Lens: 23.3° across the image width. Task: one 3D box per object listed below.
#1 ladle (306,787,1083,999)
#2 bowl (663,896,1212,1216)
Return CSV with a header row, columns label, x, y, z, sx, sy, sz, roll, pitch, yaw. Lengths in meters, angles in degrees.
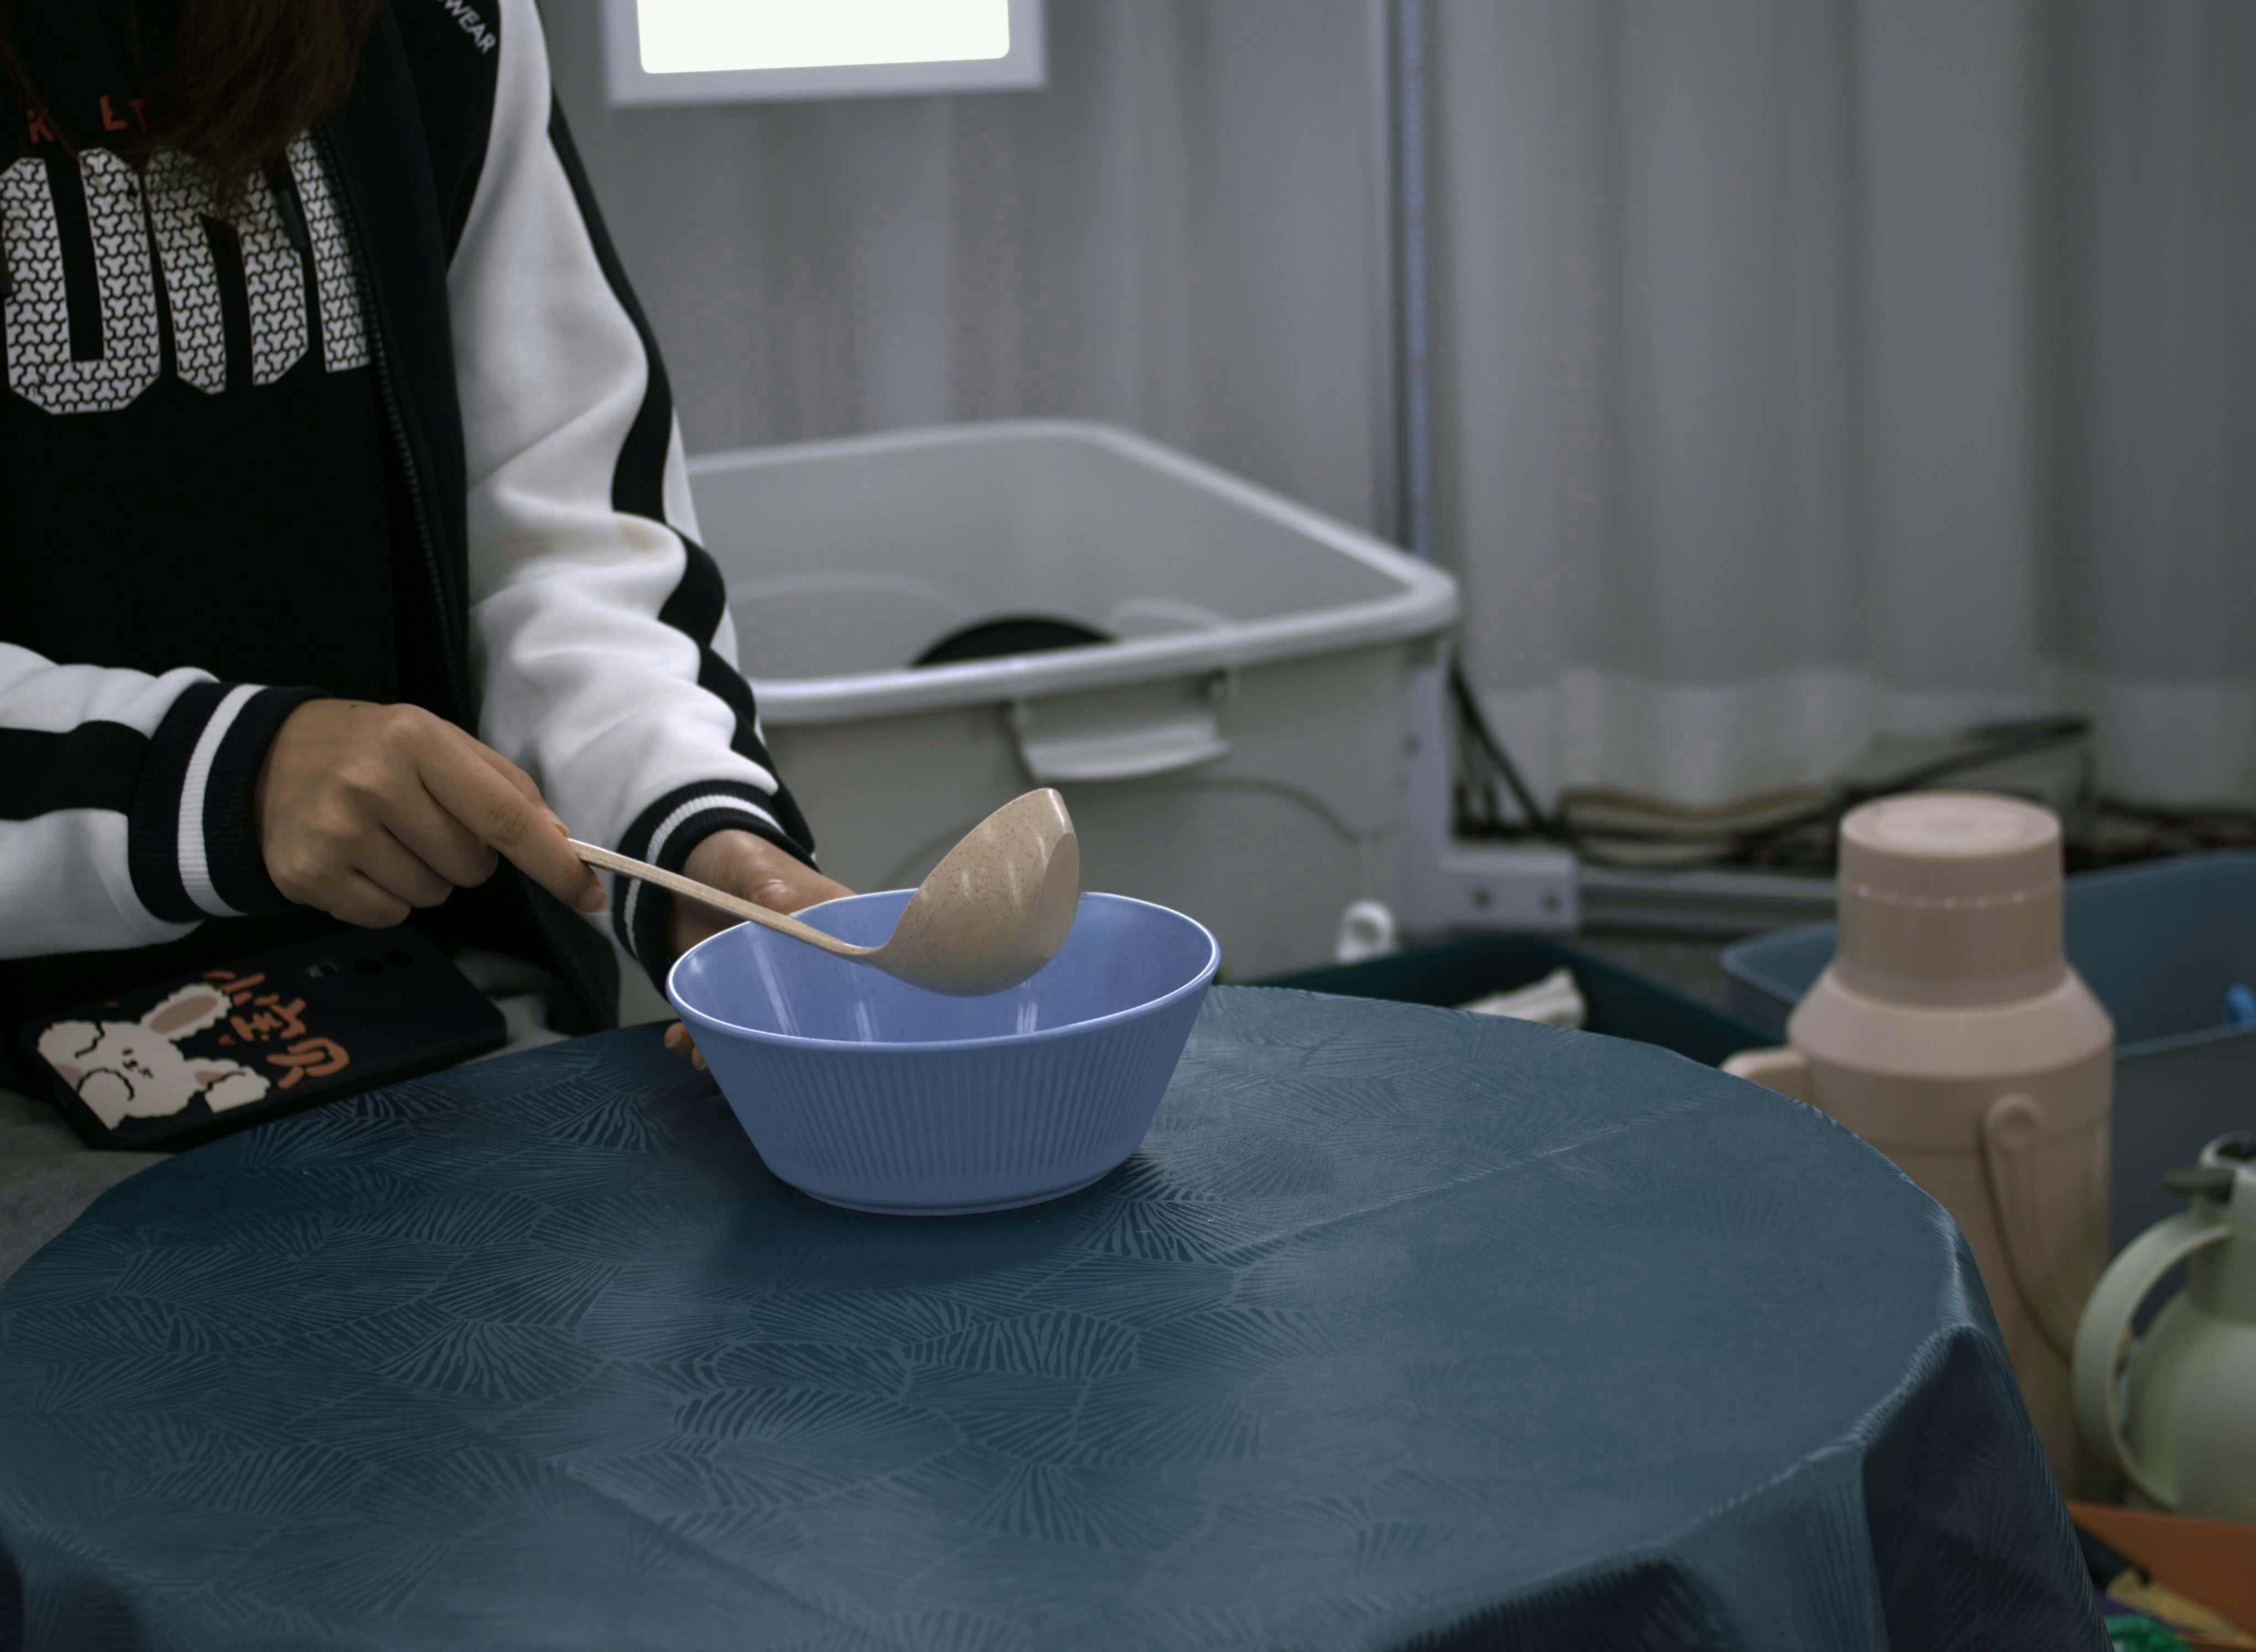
label,x,y,z,sx,sy,sz,roll,pitch,yaw
ladle,-0.137,-0.006,1.741,0.255,0.073,0.071,16,-8,16
bowl,-0.059,0.075,1.741,0.175,0.070,0.177,-2,14,0
